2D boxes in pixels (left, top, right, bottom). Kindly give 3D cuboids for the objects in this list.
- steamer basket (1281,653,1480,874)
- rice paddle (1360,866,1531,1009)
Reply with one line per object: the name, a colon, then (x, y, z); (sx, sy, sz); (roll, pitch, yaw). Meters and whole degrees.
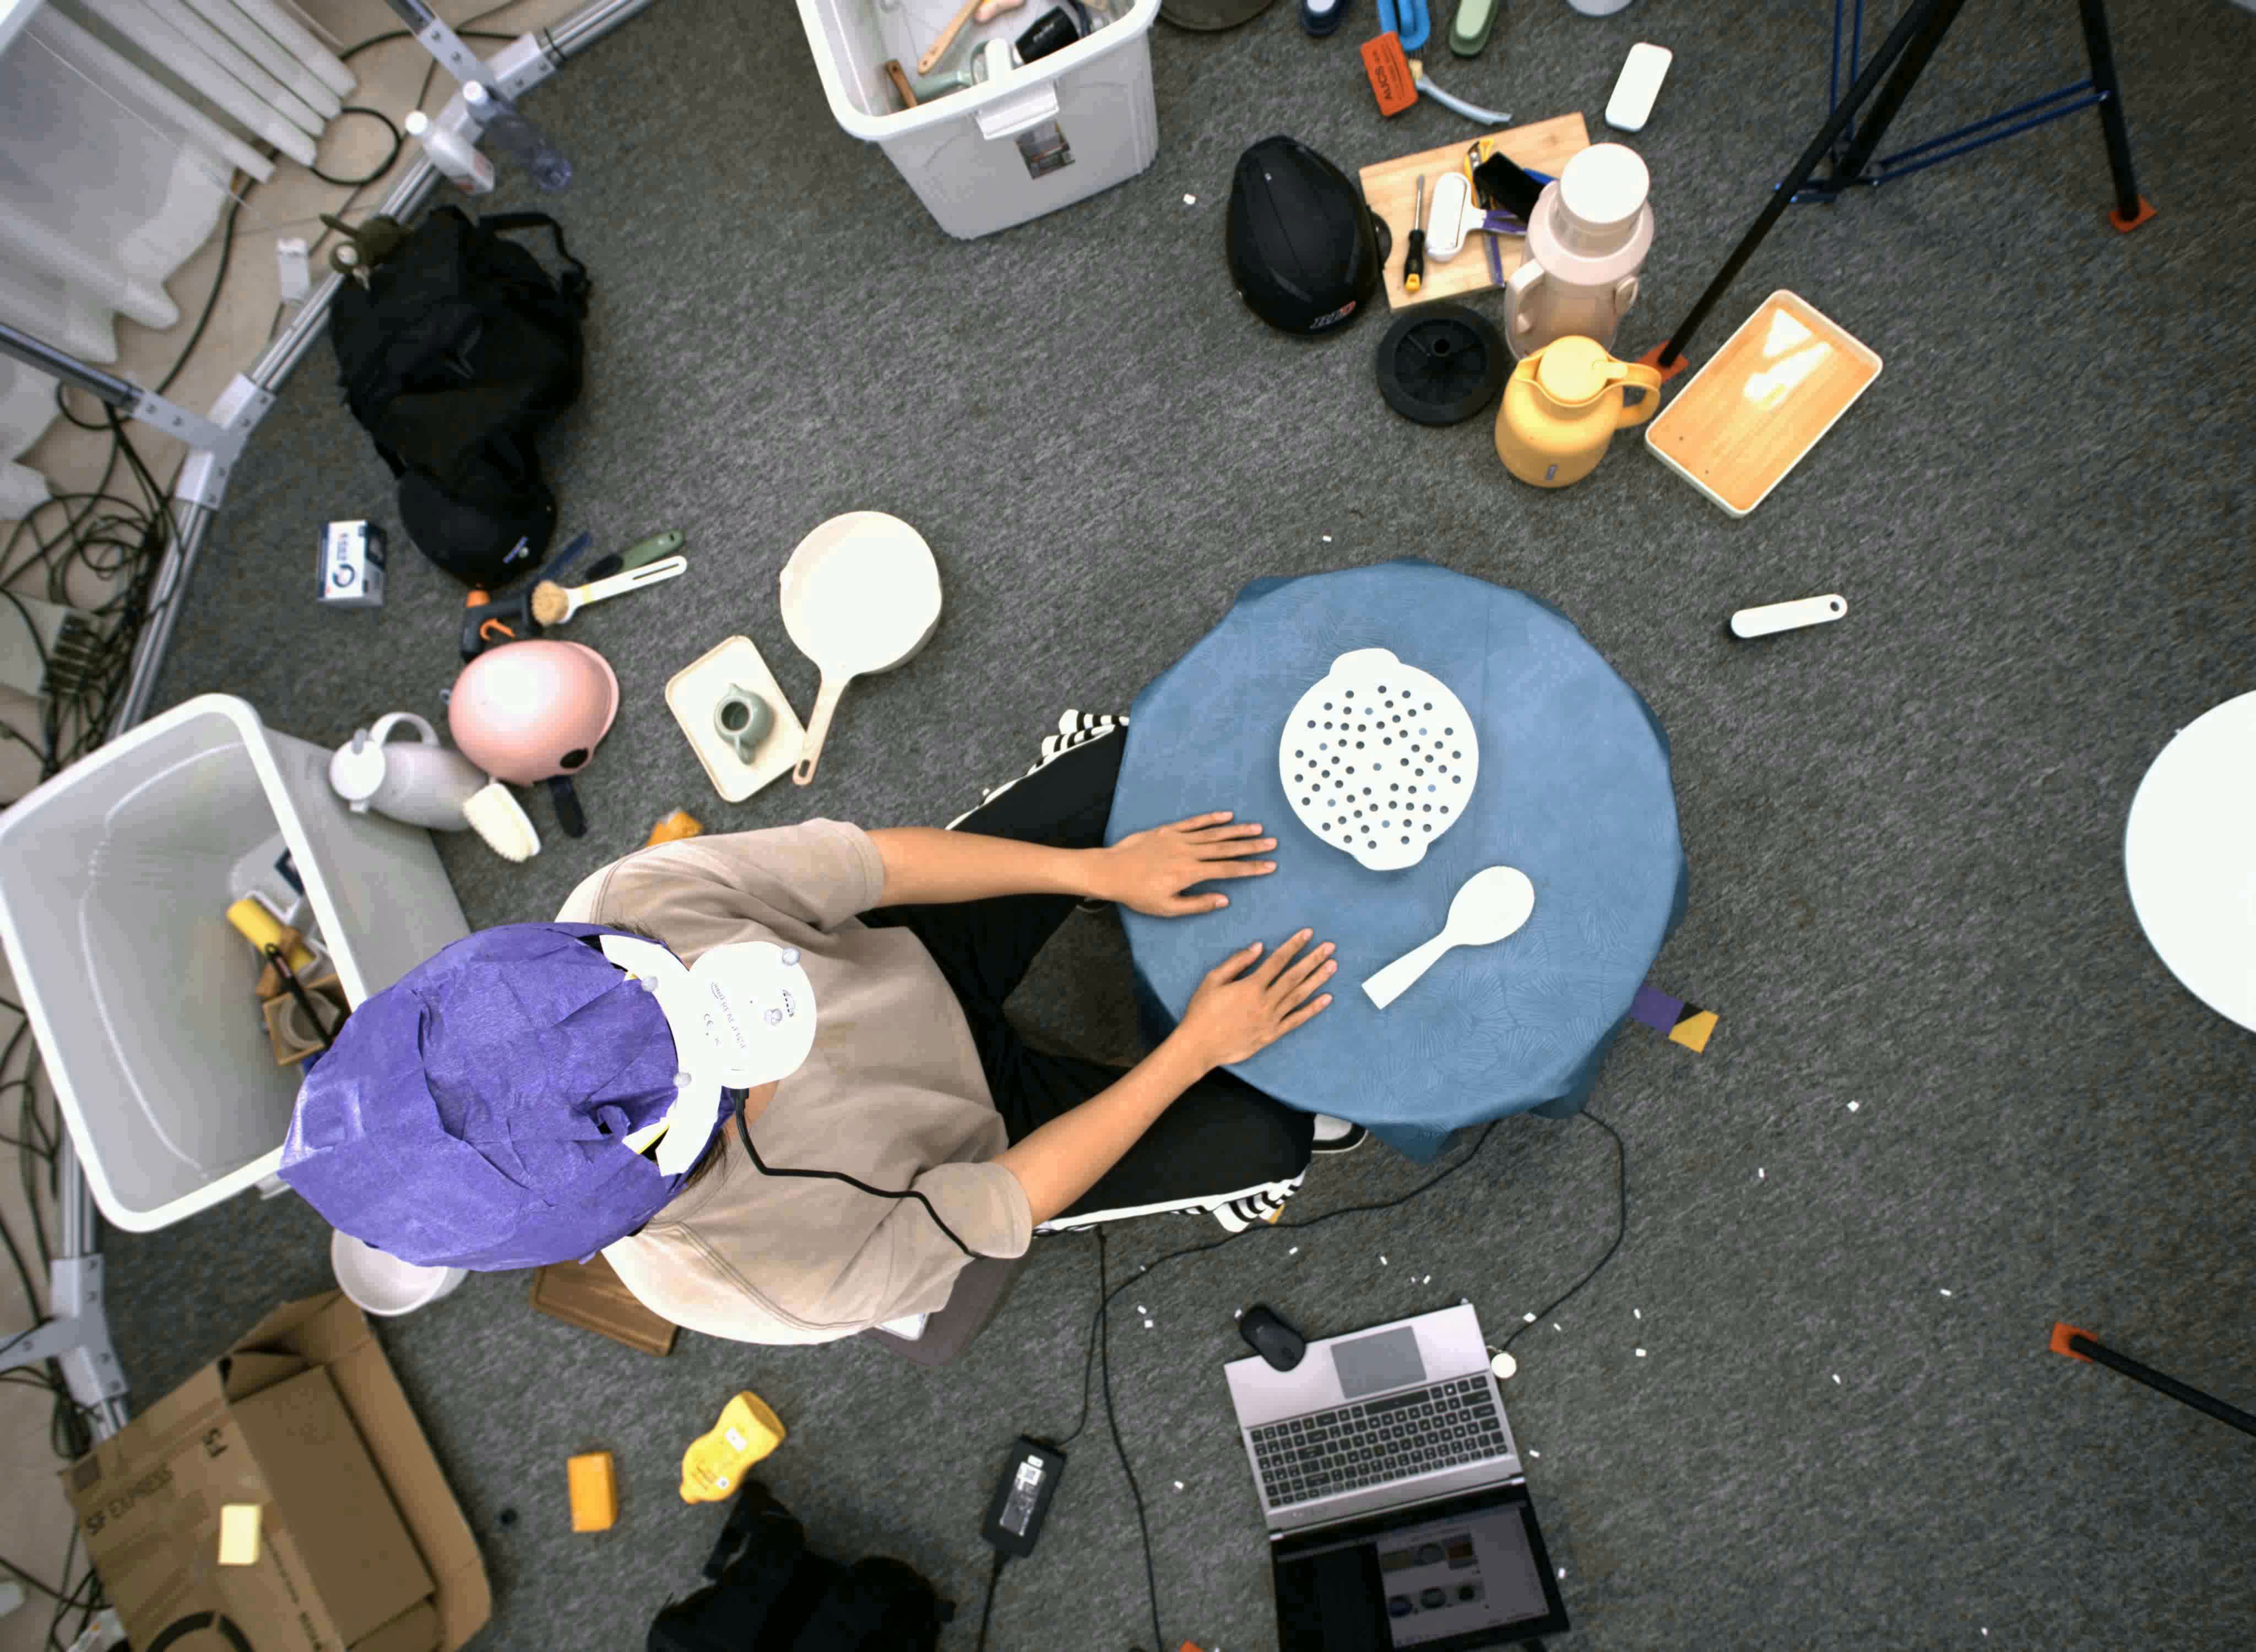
steamer basket: (0.262, -0.063, 1.438); (0.203, 0.069, 0.229); (-8, 83, 9)
rice paddle: (0.331, 0.114, 1.432); (0.206, 0.029, 0.068); (-38, 82, 6)
